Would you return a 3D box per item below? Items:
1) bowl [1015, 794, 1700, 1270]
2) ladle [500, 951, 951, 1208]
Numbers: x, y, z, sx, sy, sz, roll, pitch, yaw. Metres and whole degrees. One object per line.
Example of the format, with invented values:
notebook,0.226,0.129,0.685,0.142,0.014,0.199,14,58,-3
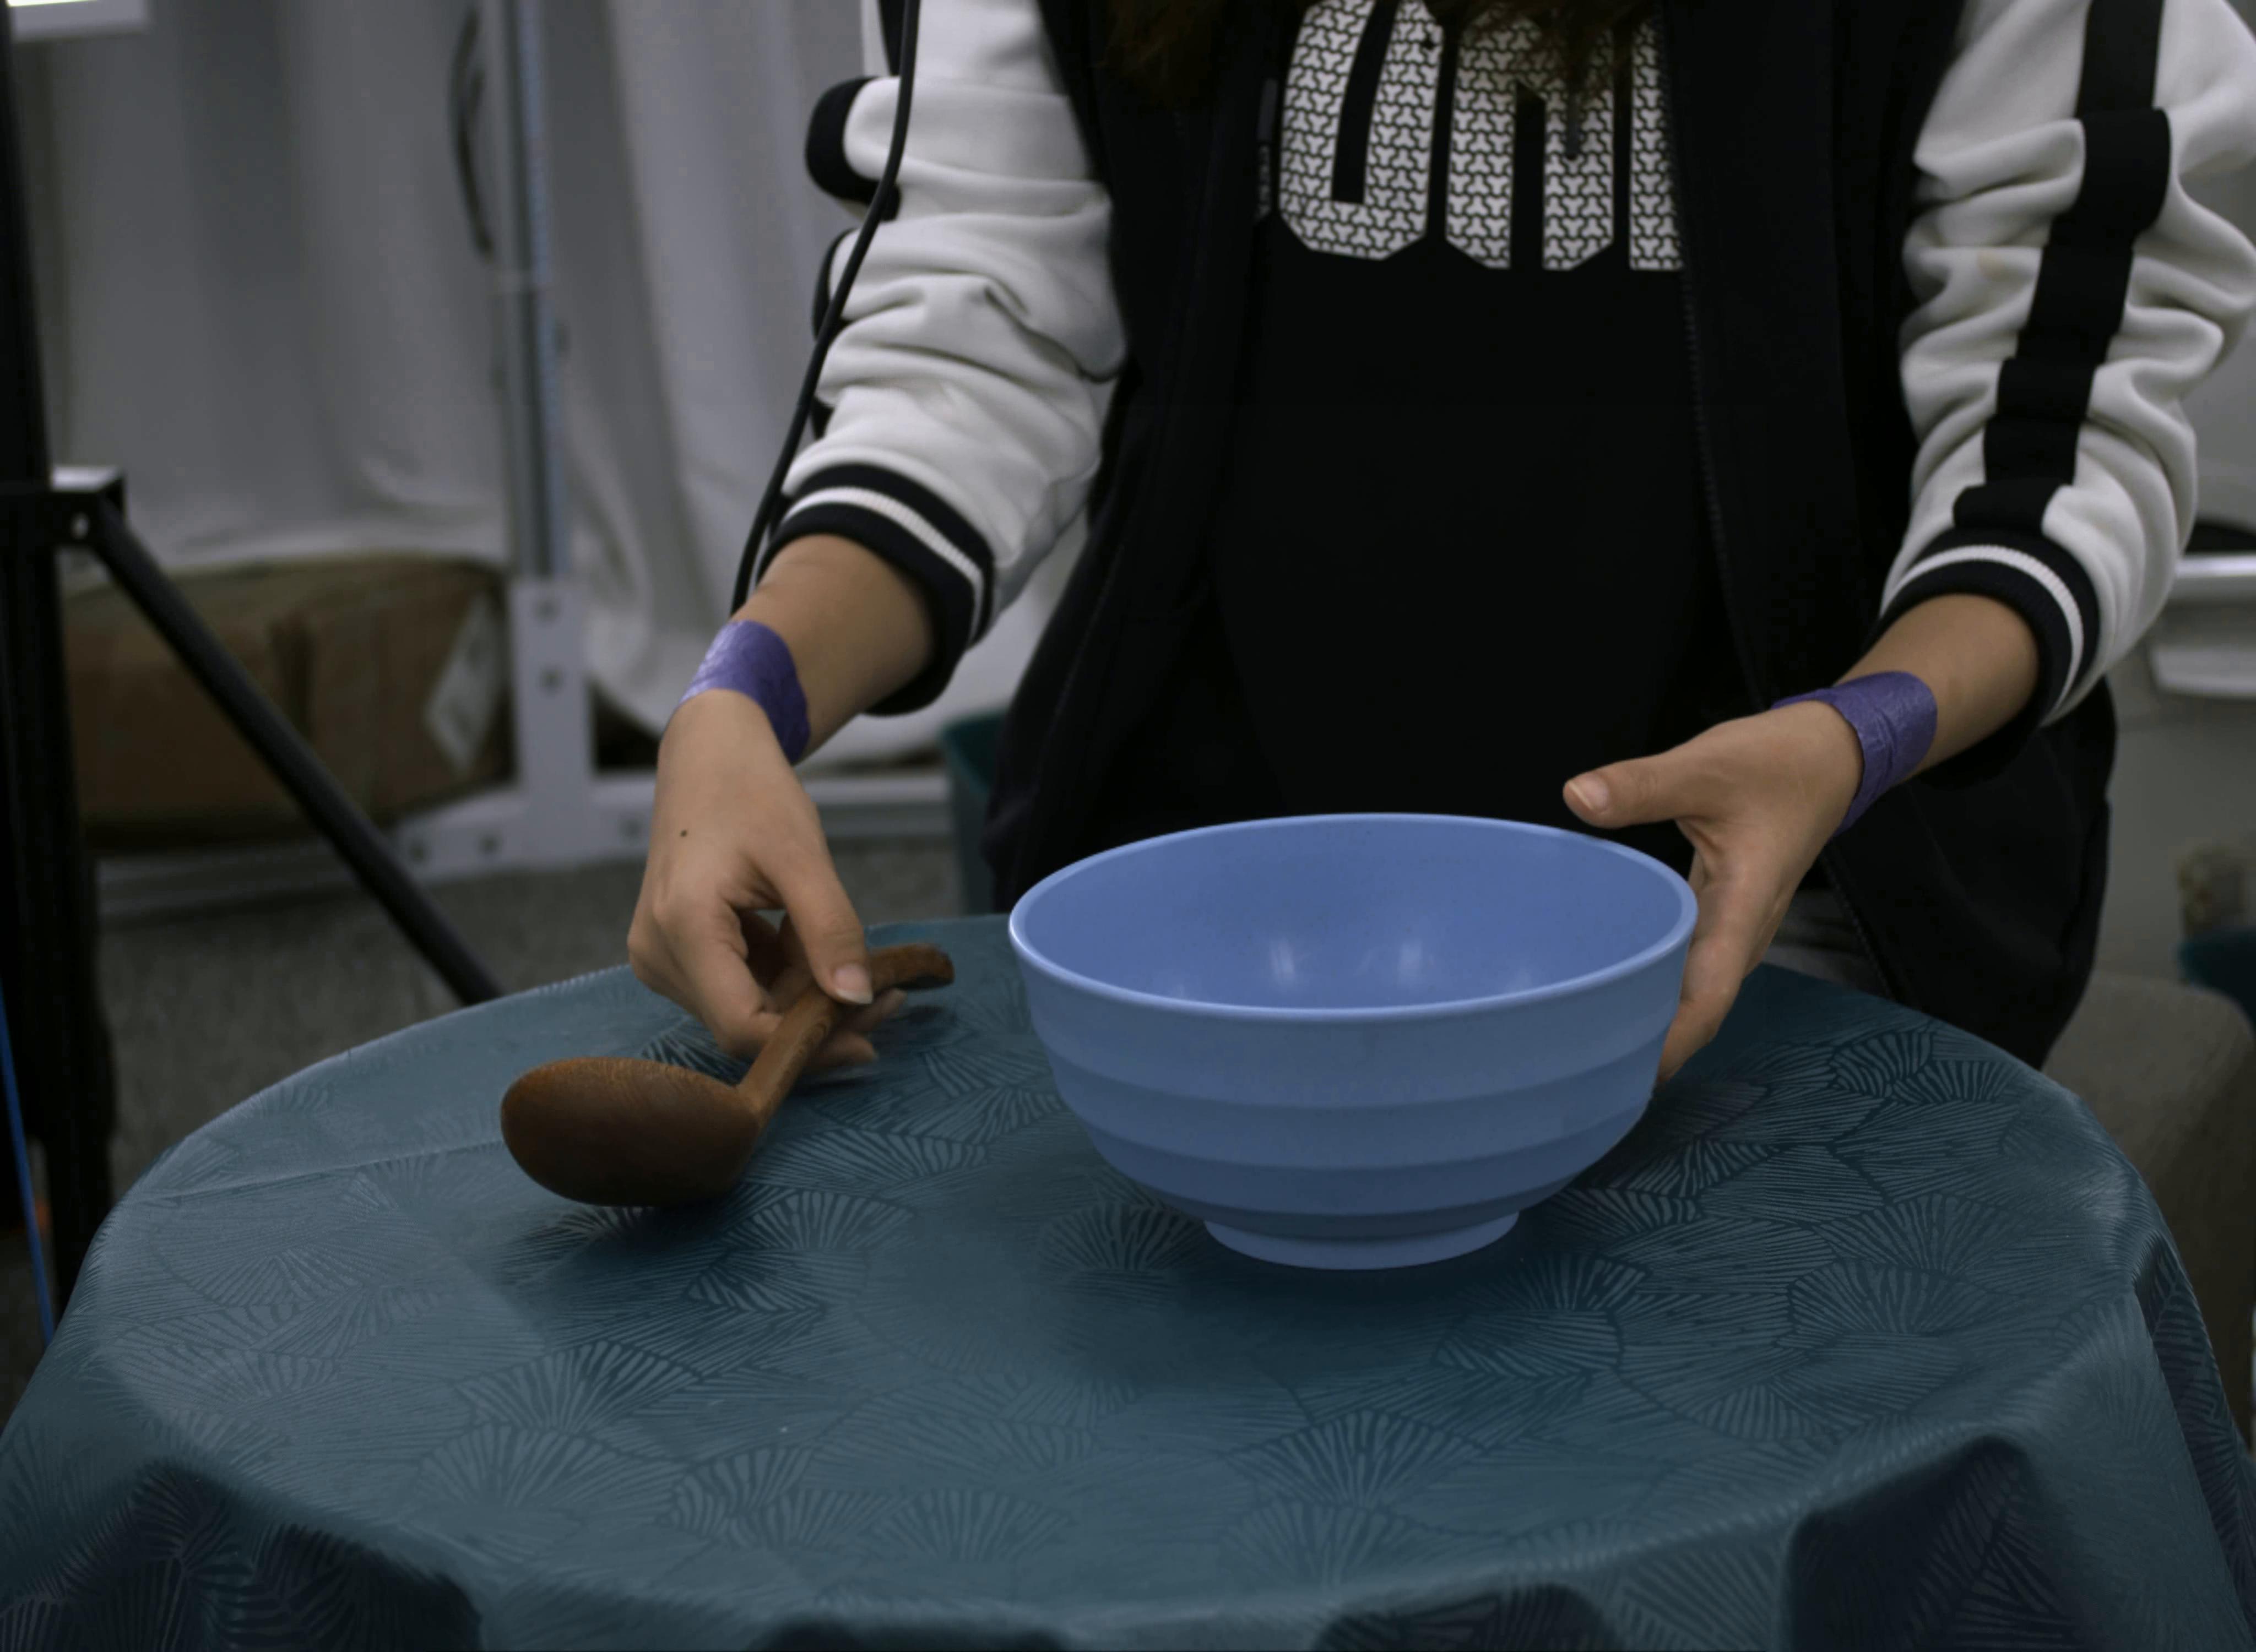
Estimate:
bowl,0.071,0.066,1.522,0.196,0.095,0.197,-8,17,1
ladle,-0.111,0.060,1.626,0.077,0.065,0.257,-4,15,22
